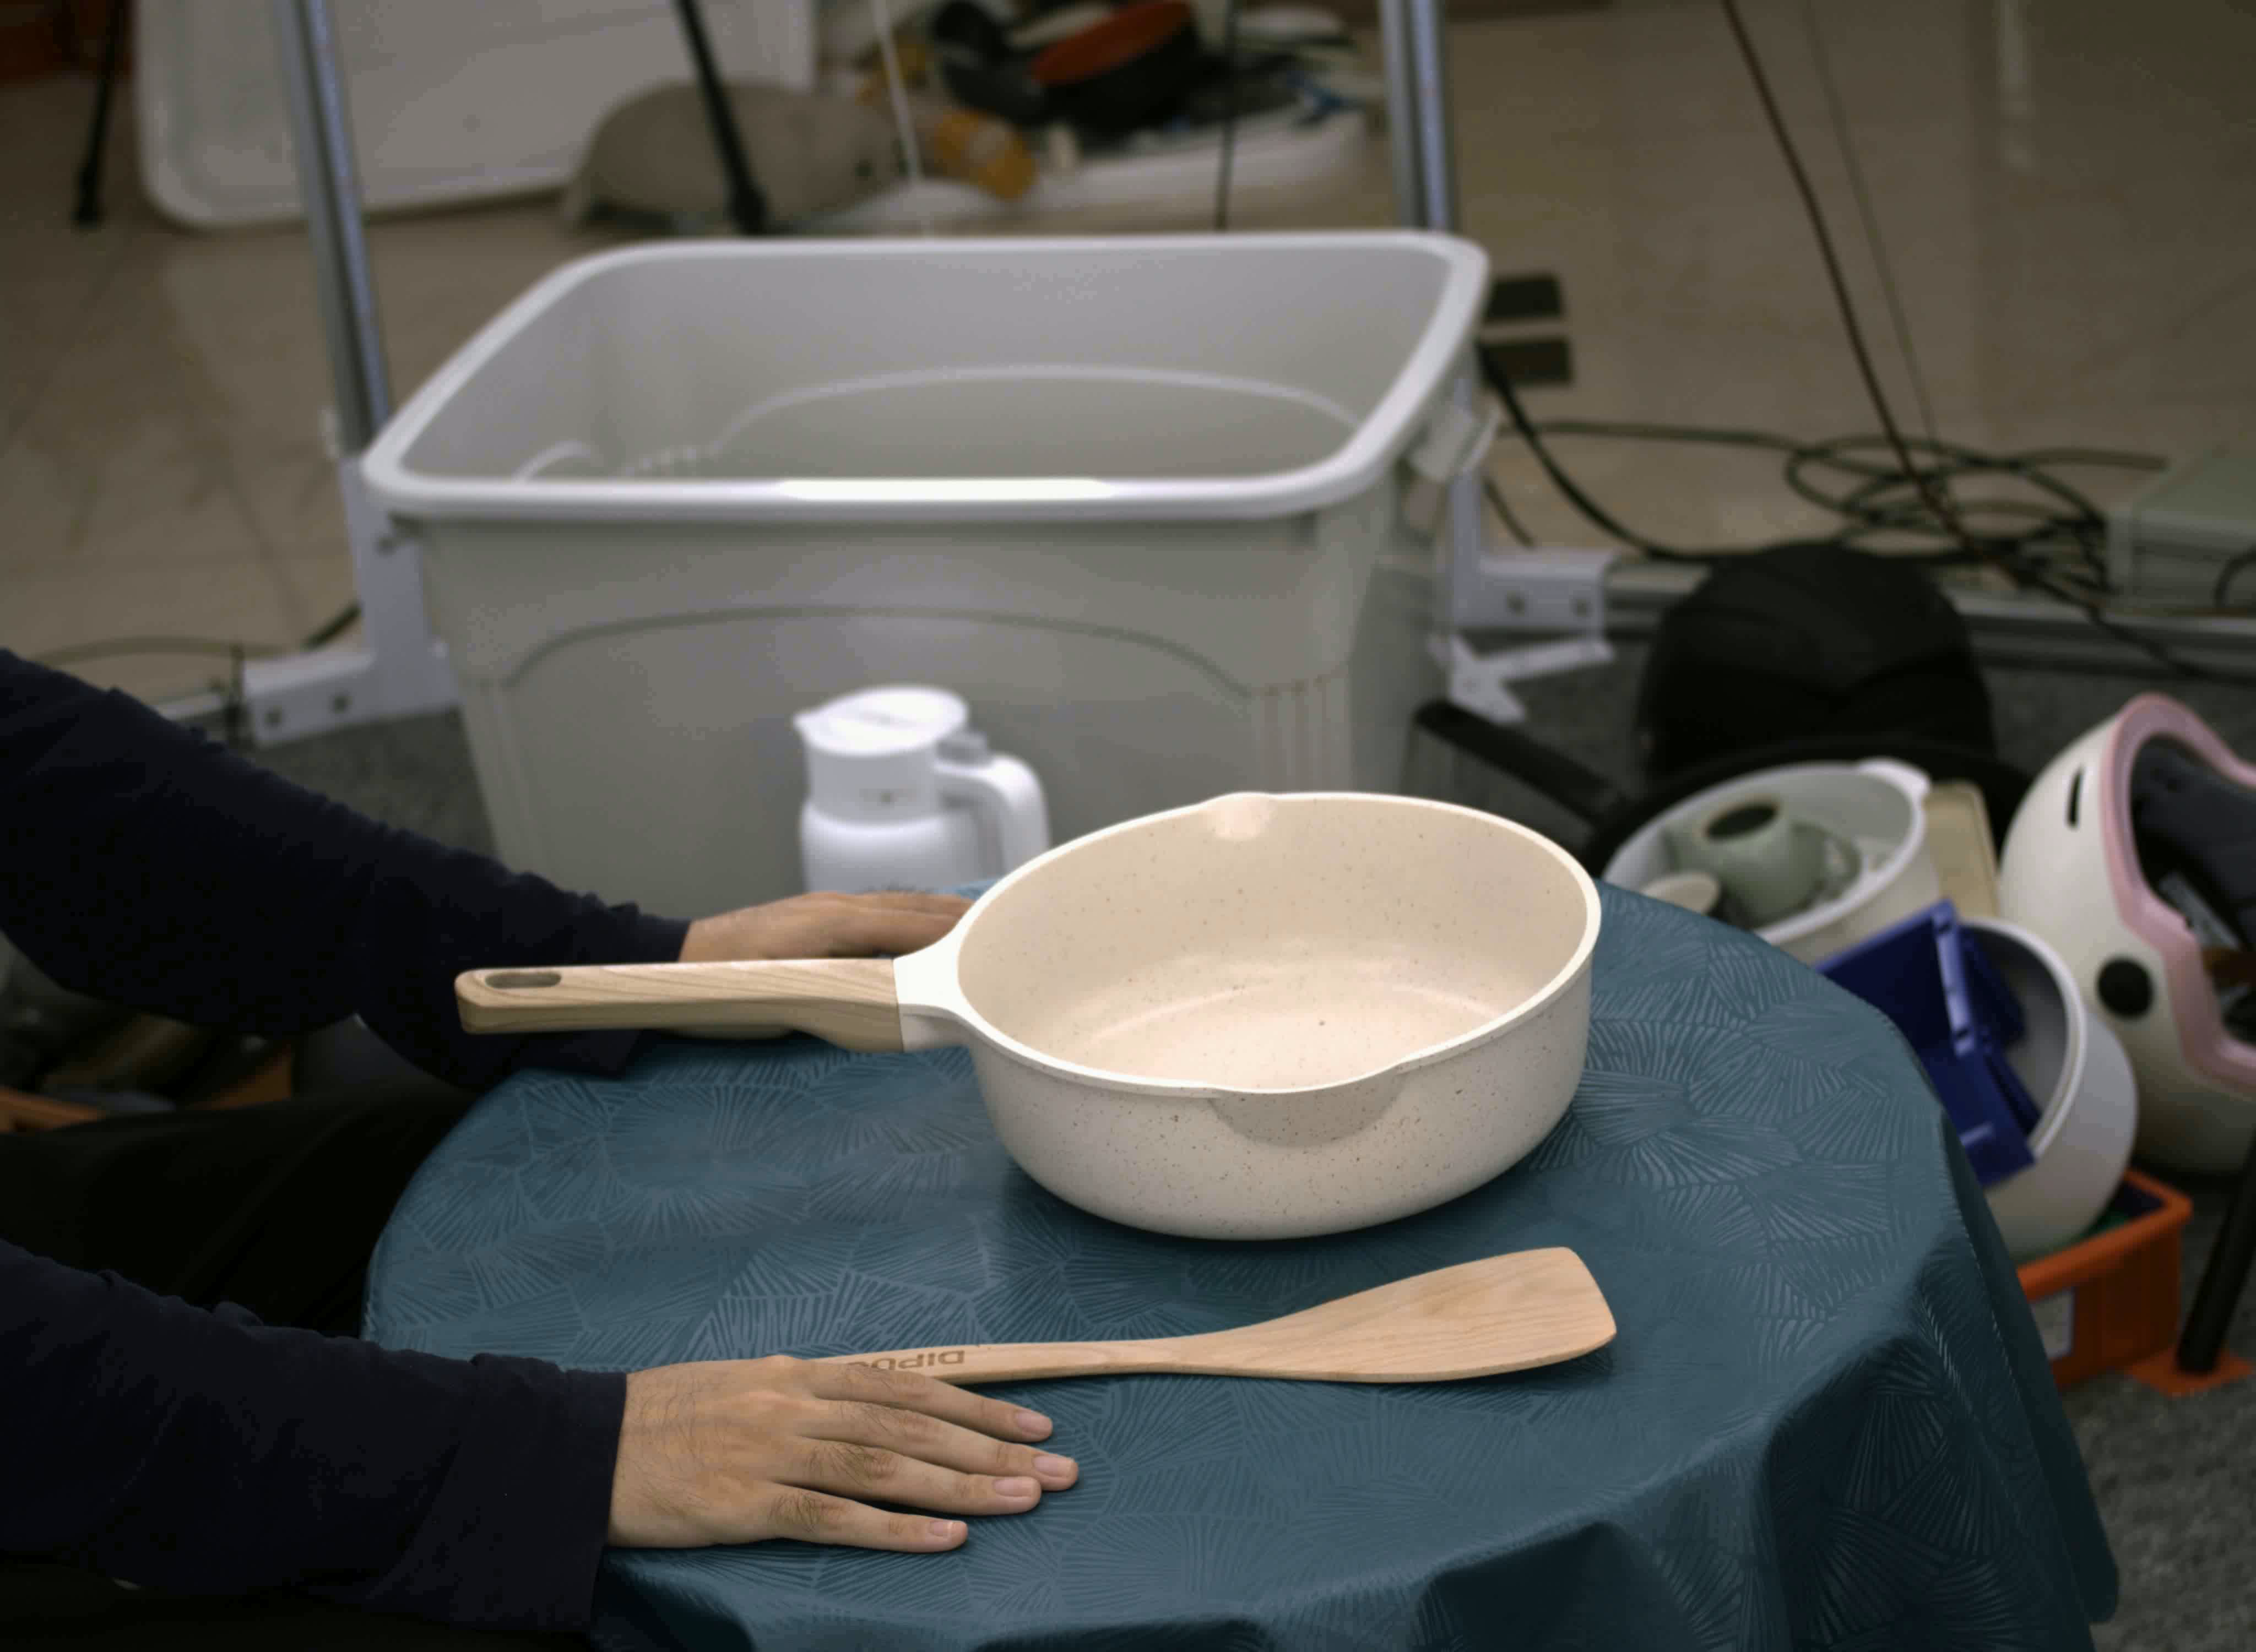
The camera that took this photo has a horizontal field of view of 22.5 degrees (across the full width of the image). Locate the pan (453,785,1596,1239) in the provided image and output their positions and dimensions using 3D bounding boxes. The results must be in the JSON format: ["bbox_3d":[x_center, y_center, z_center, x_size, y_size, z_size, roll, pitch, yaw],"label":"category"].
[{"bbox_3d":[-0.035,0.081,2.166,0.434,0.103,0.259,-8,26,-3],"label":"pan"}]

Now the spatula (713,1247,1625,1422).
[{"bbox_3d":[0.013,0.187,2.030,0.327,0.017,0.079,-6,25,3],"label":"spatula"}]
